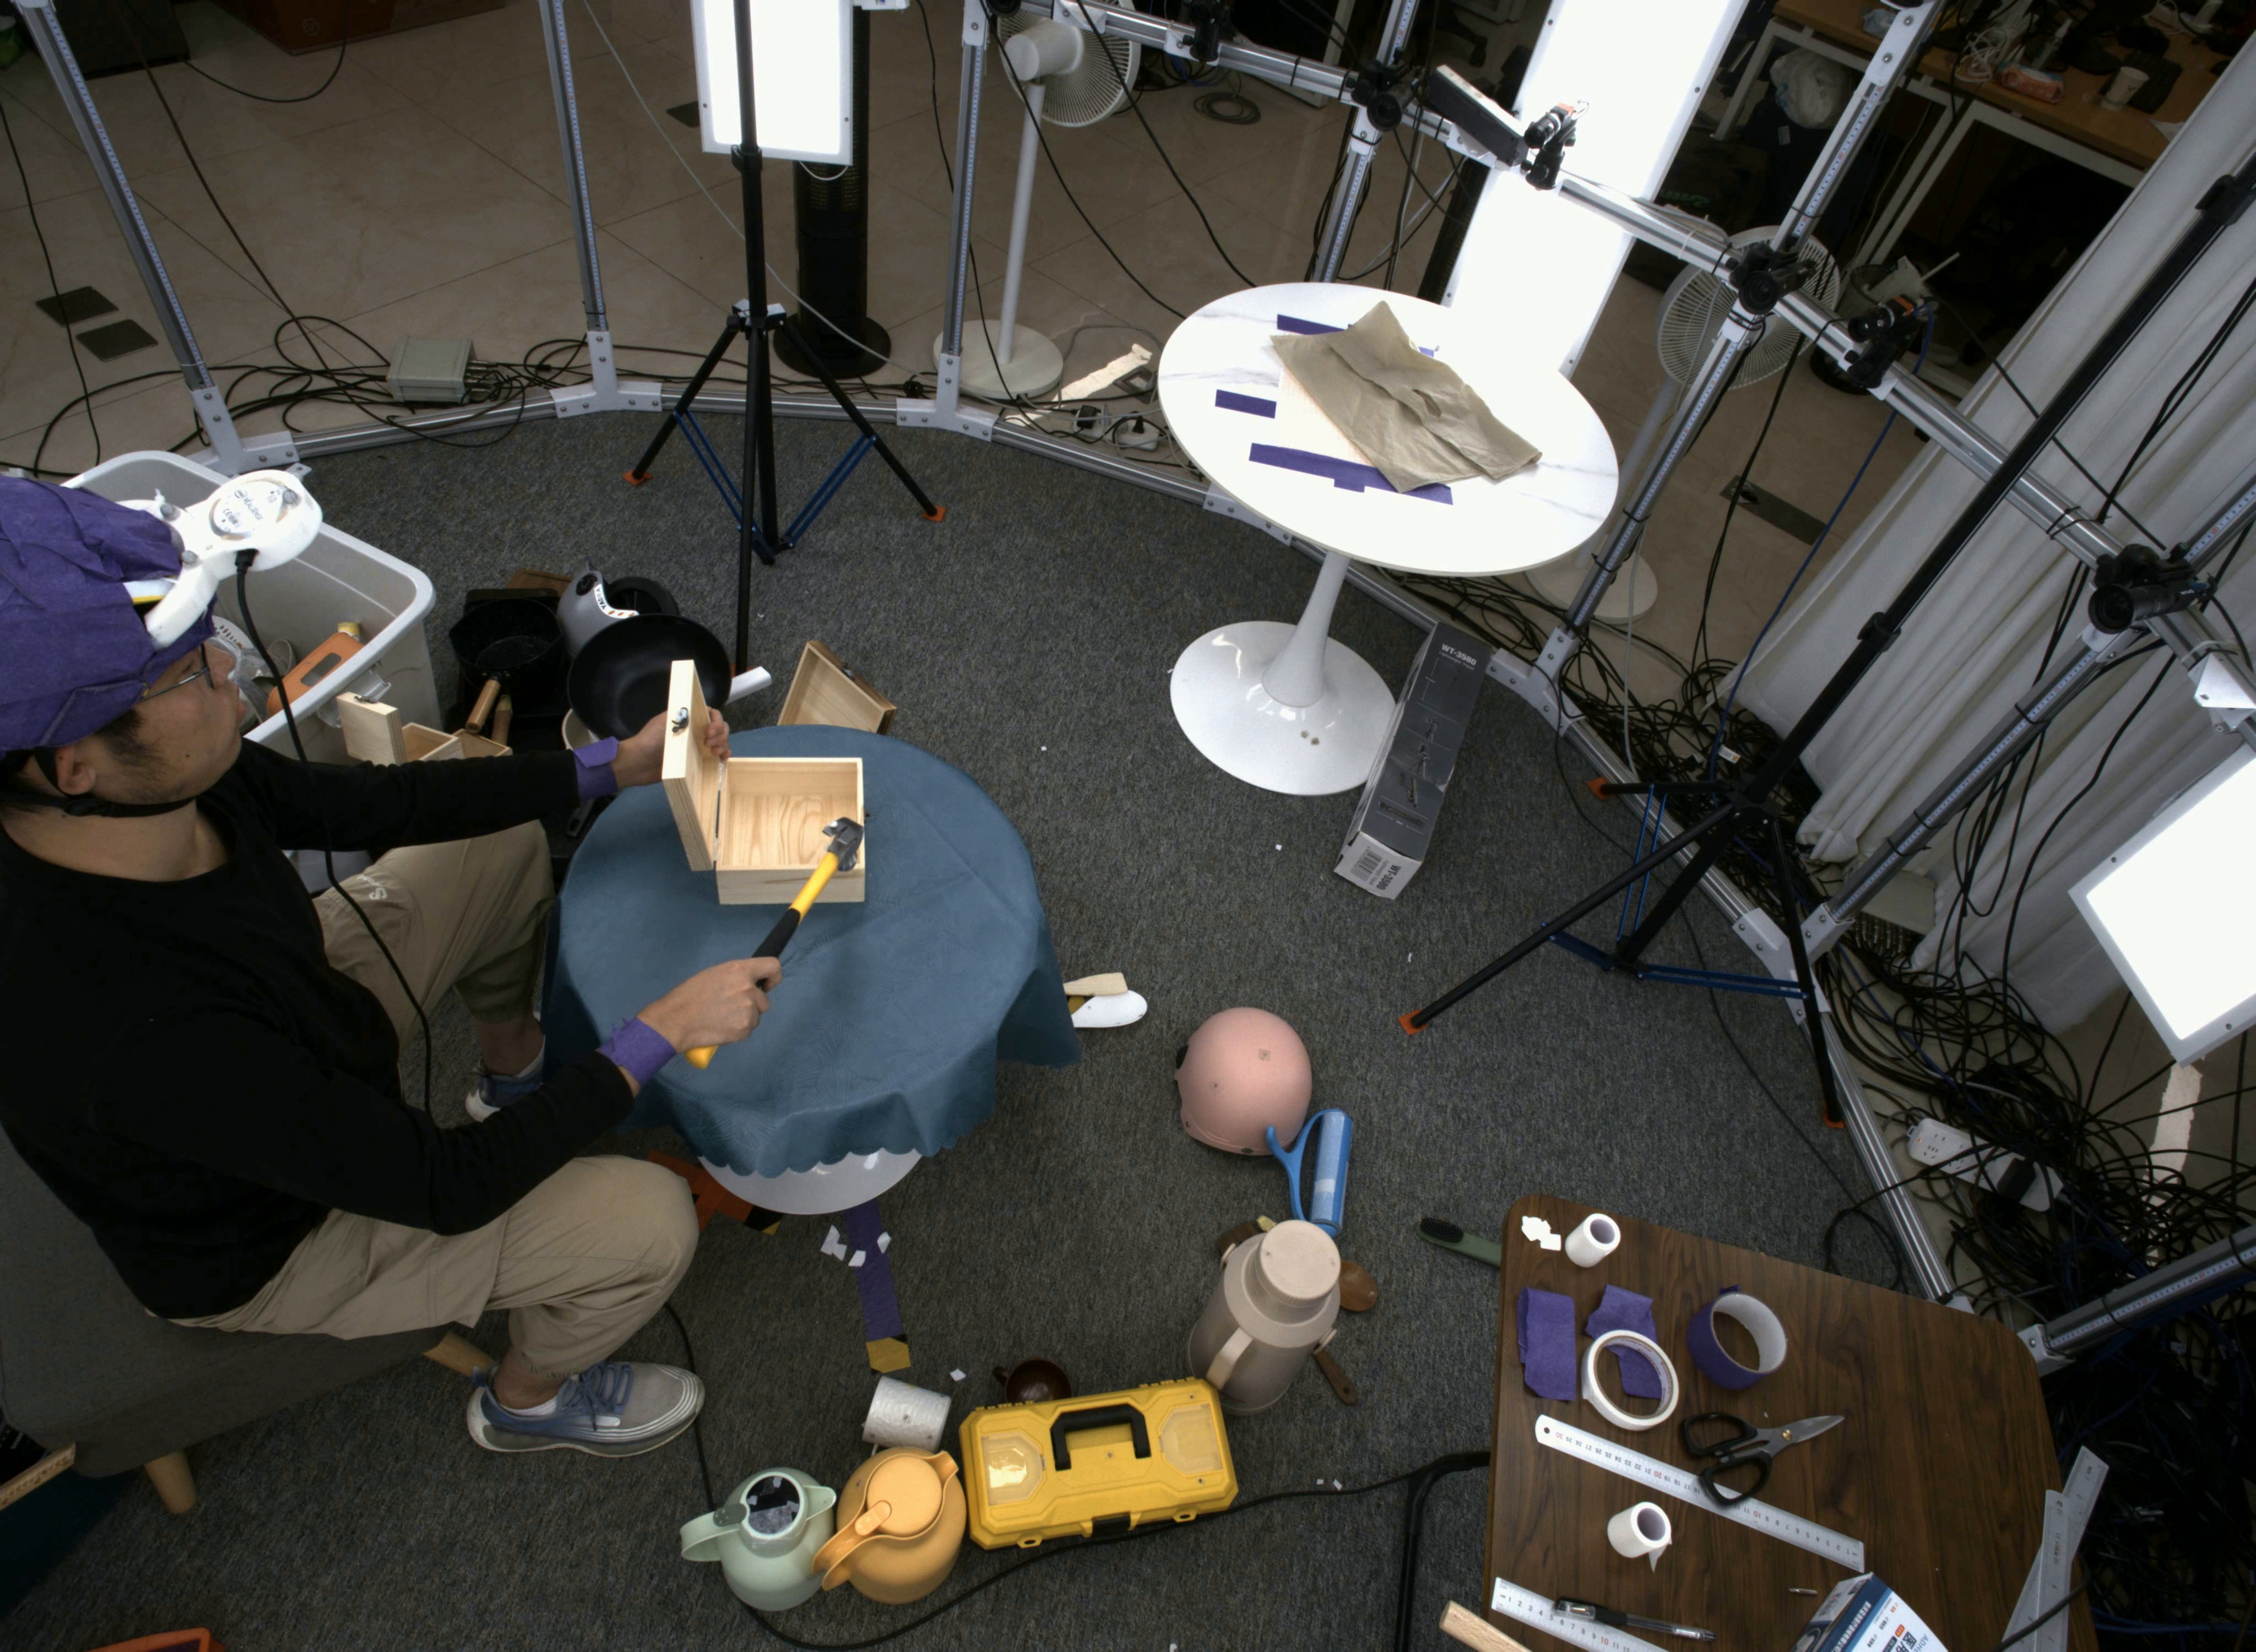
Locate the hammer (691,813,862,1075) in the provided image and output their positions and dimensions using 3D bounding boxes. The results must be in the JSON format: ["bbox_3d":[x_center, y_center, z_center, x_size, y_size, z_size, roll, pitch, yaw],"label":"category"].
[{"bbox_3d":[-0.389,0.124,1.446,0.032,0.133,0.336,27,59,0],"label":"hammer"}]

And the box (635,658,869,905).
[{"bbox_3d":[-0.451,-0.052,1.591,0.266,0.258,0.178,-1,55,-15],"label":"box"}]
